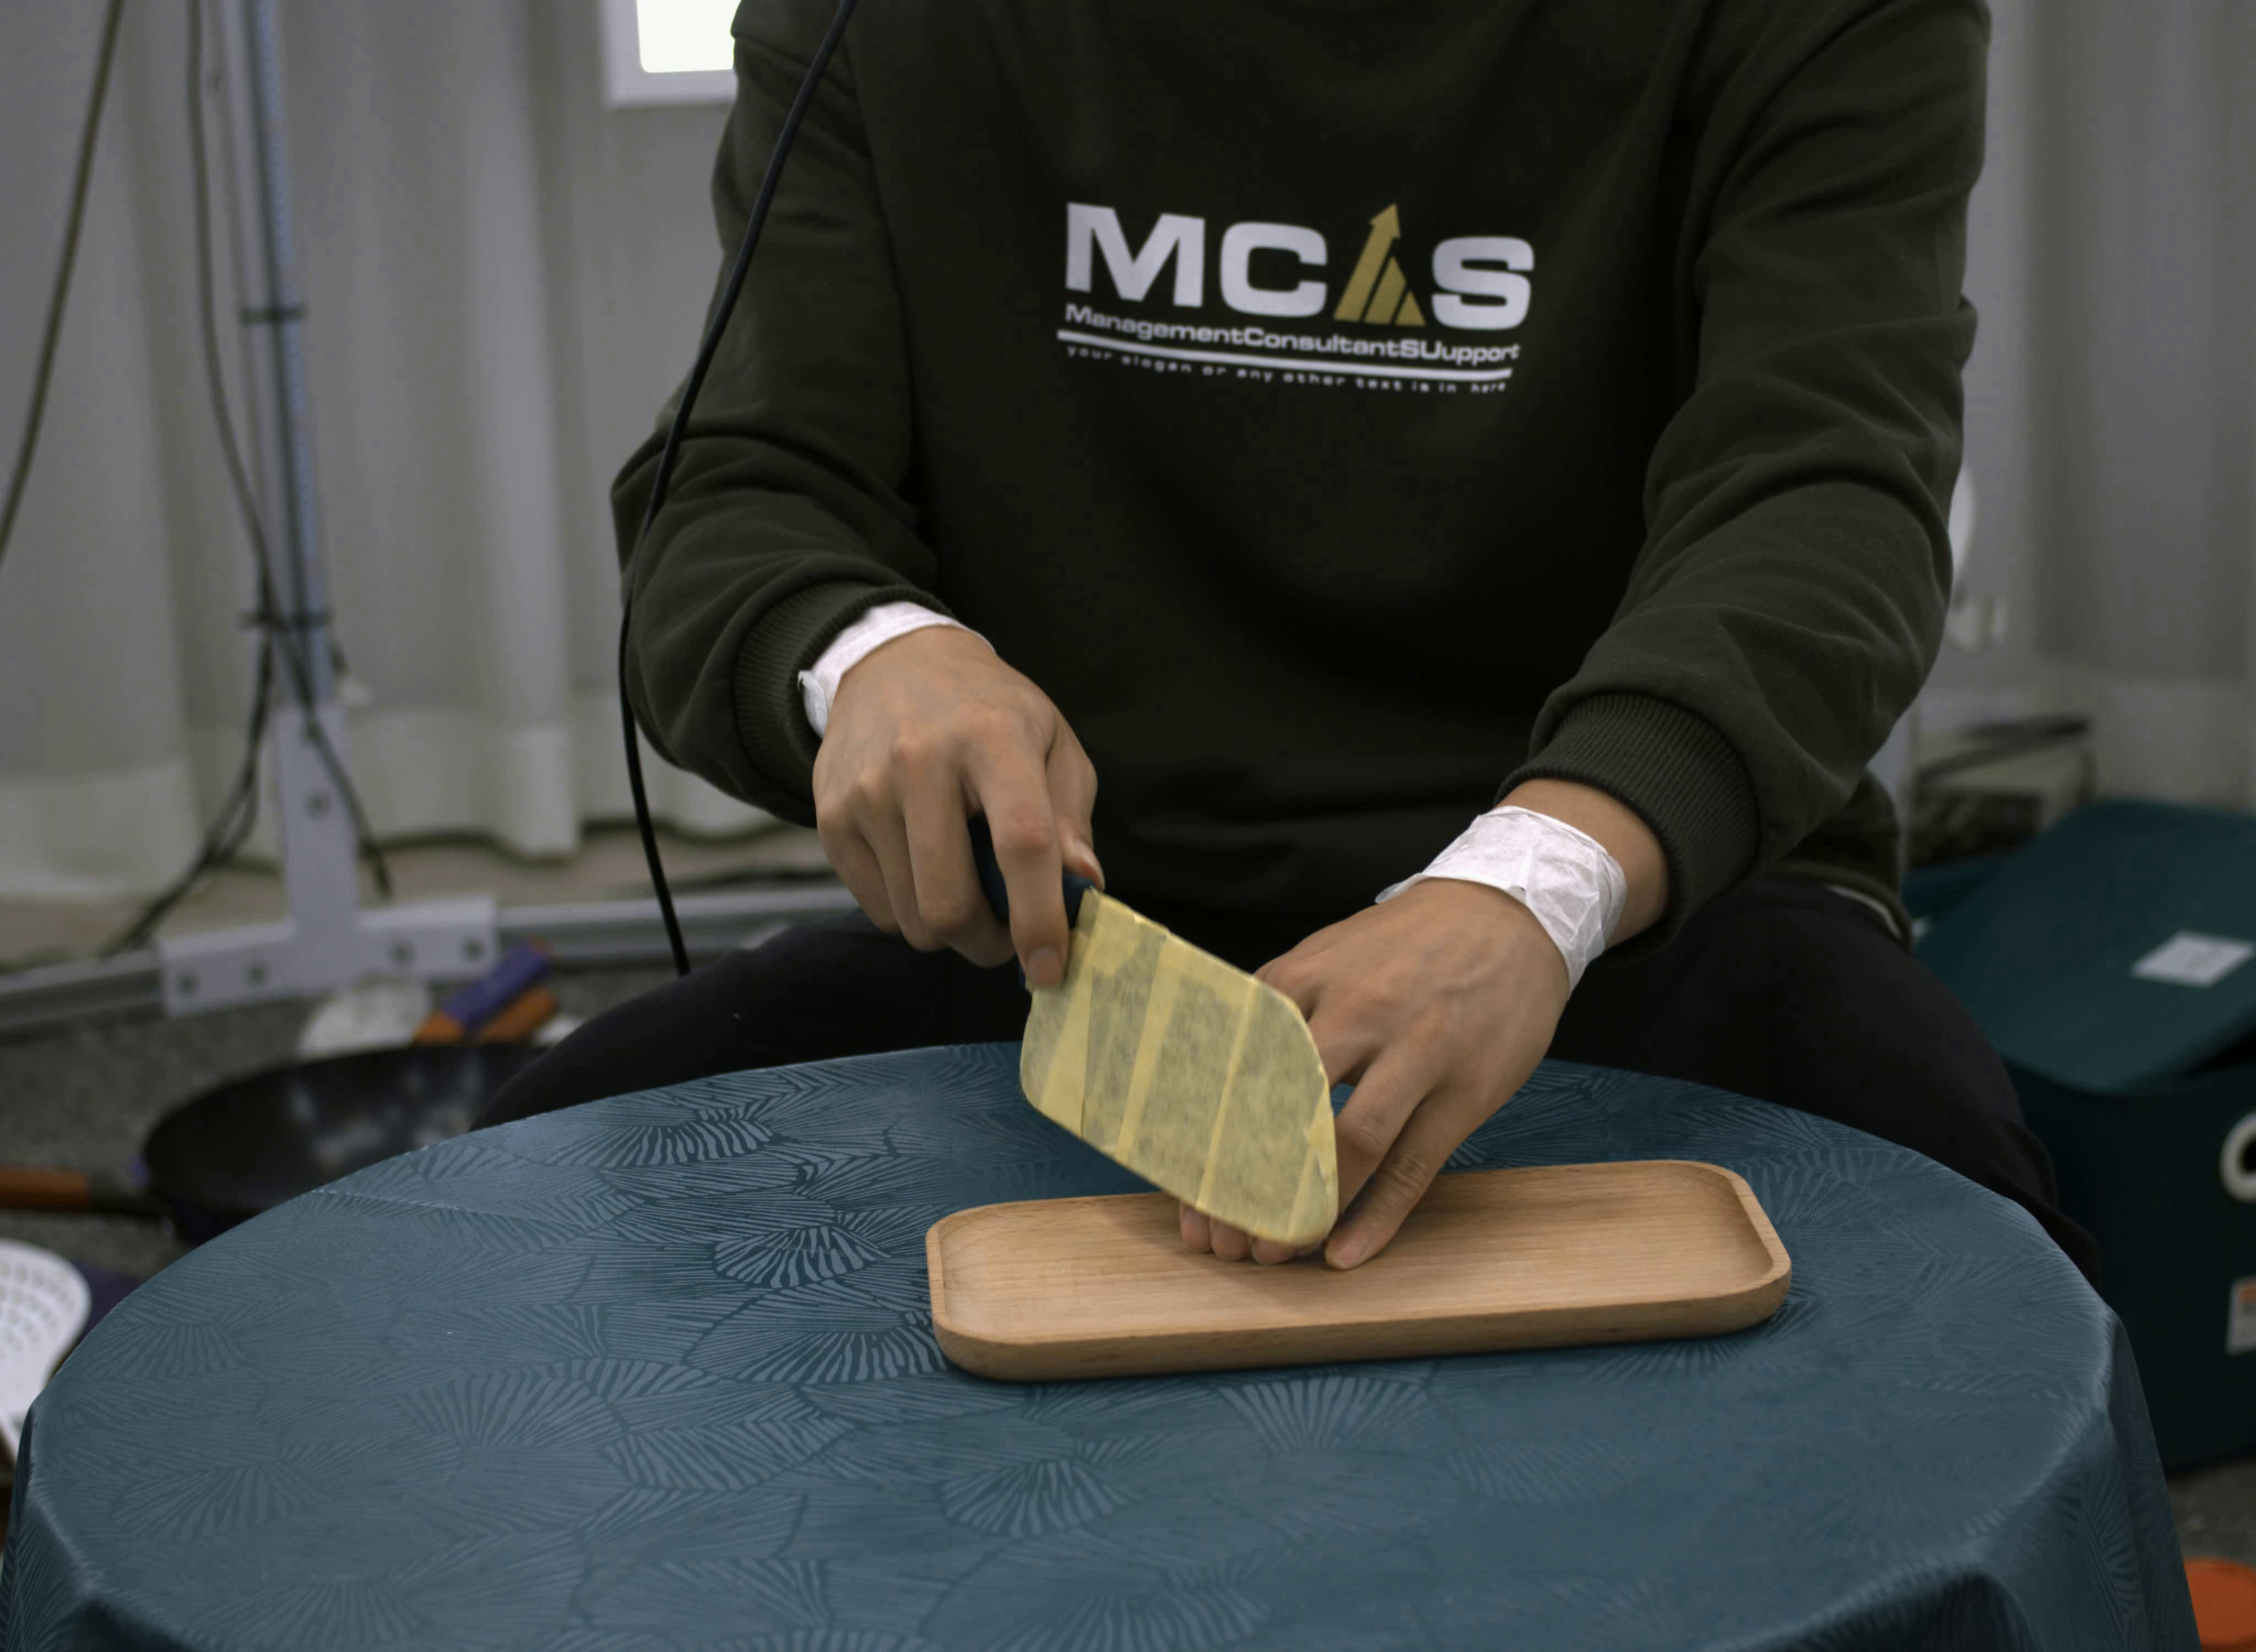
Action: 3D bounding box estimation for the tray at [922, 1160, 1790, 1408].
[{"bbox_3d":[0.065,0.135,1.612,0.250,0.023,0.131,-6,12,-2],"label":"tray"}]

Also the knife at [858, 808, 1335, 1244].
[{"bbox_3d":[-0.013,0.057,1.679,0.027,0.081,0.292,10,13,-34],"label":"knife"}]
